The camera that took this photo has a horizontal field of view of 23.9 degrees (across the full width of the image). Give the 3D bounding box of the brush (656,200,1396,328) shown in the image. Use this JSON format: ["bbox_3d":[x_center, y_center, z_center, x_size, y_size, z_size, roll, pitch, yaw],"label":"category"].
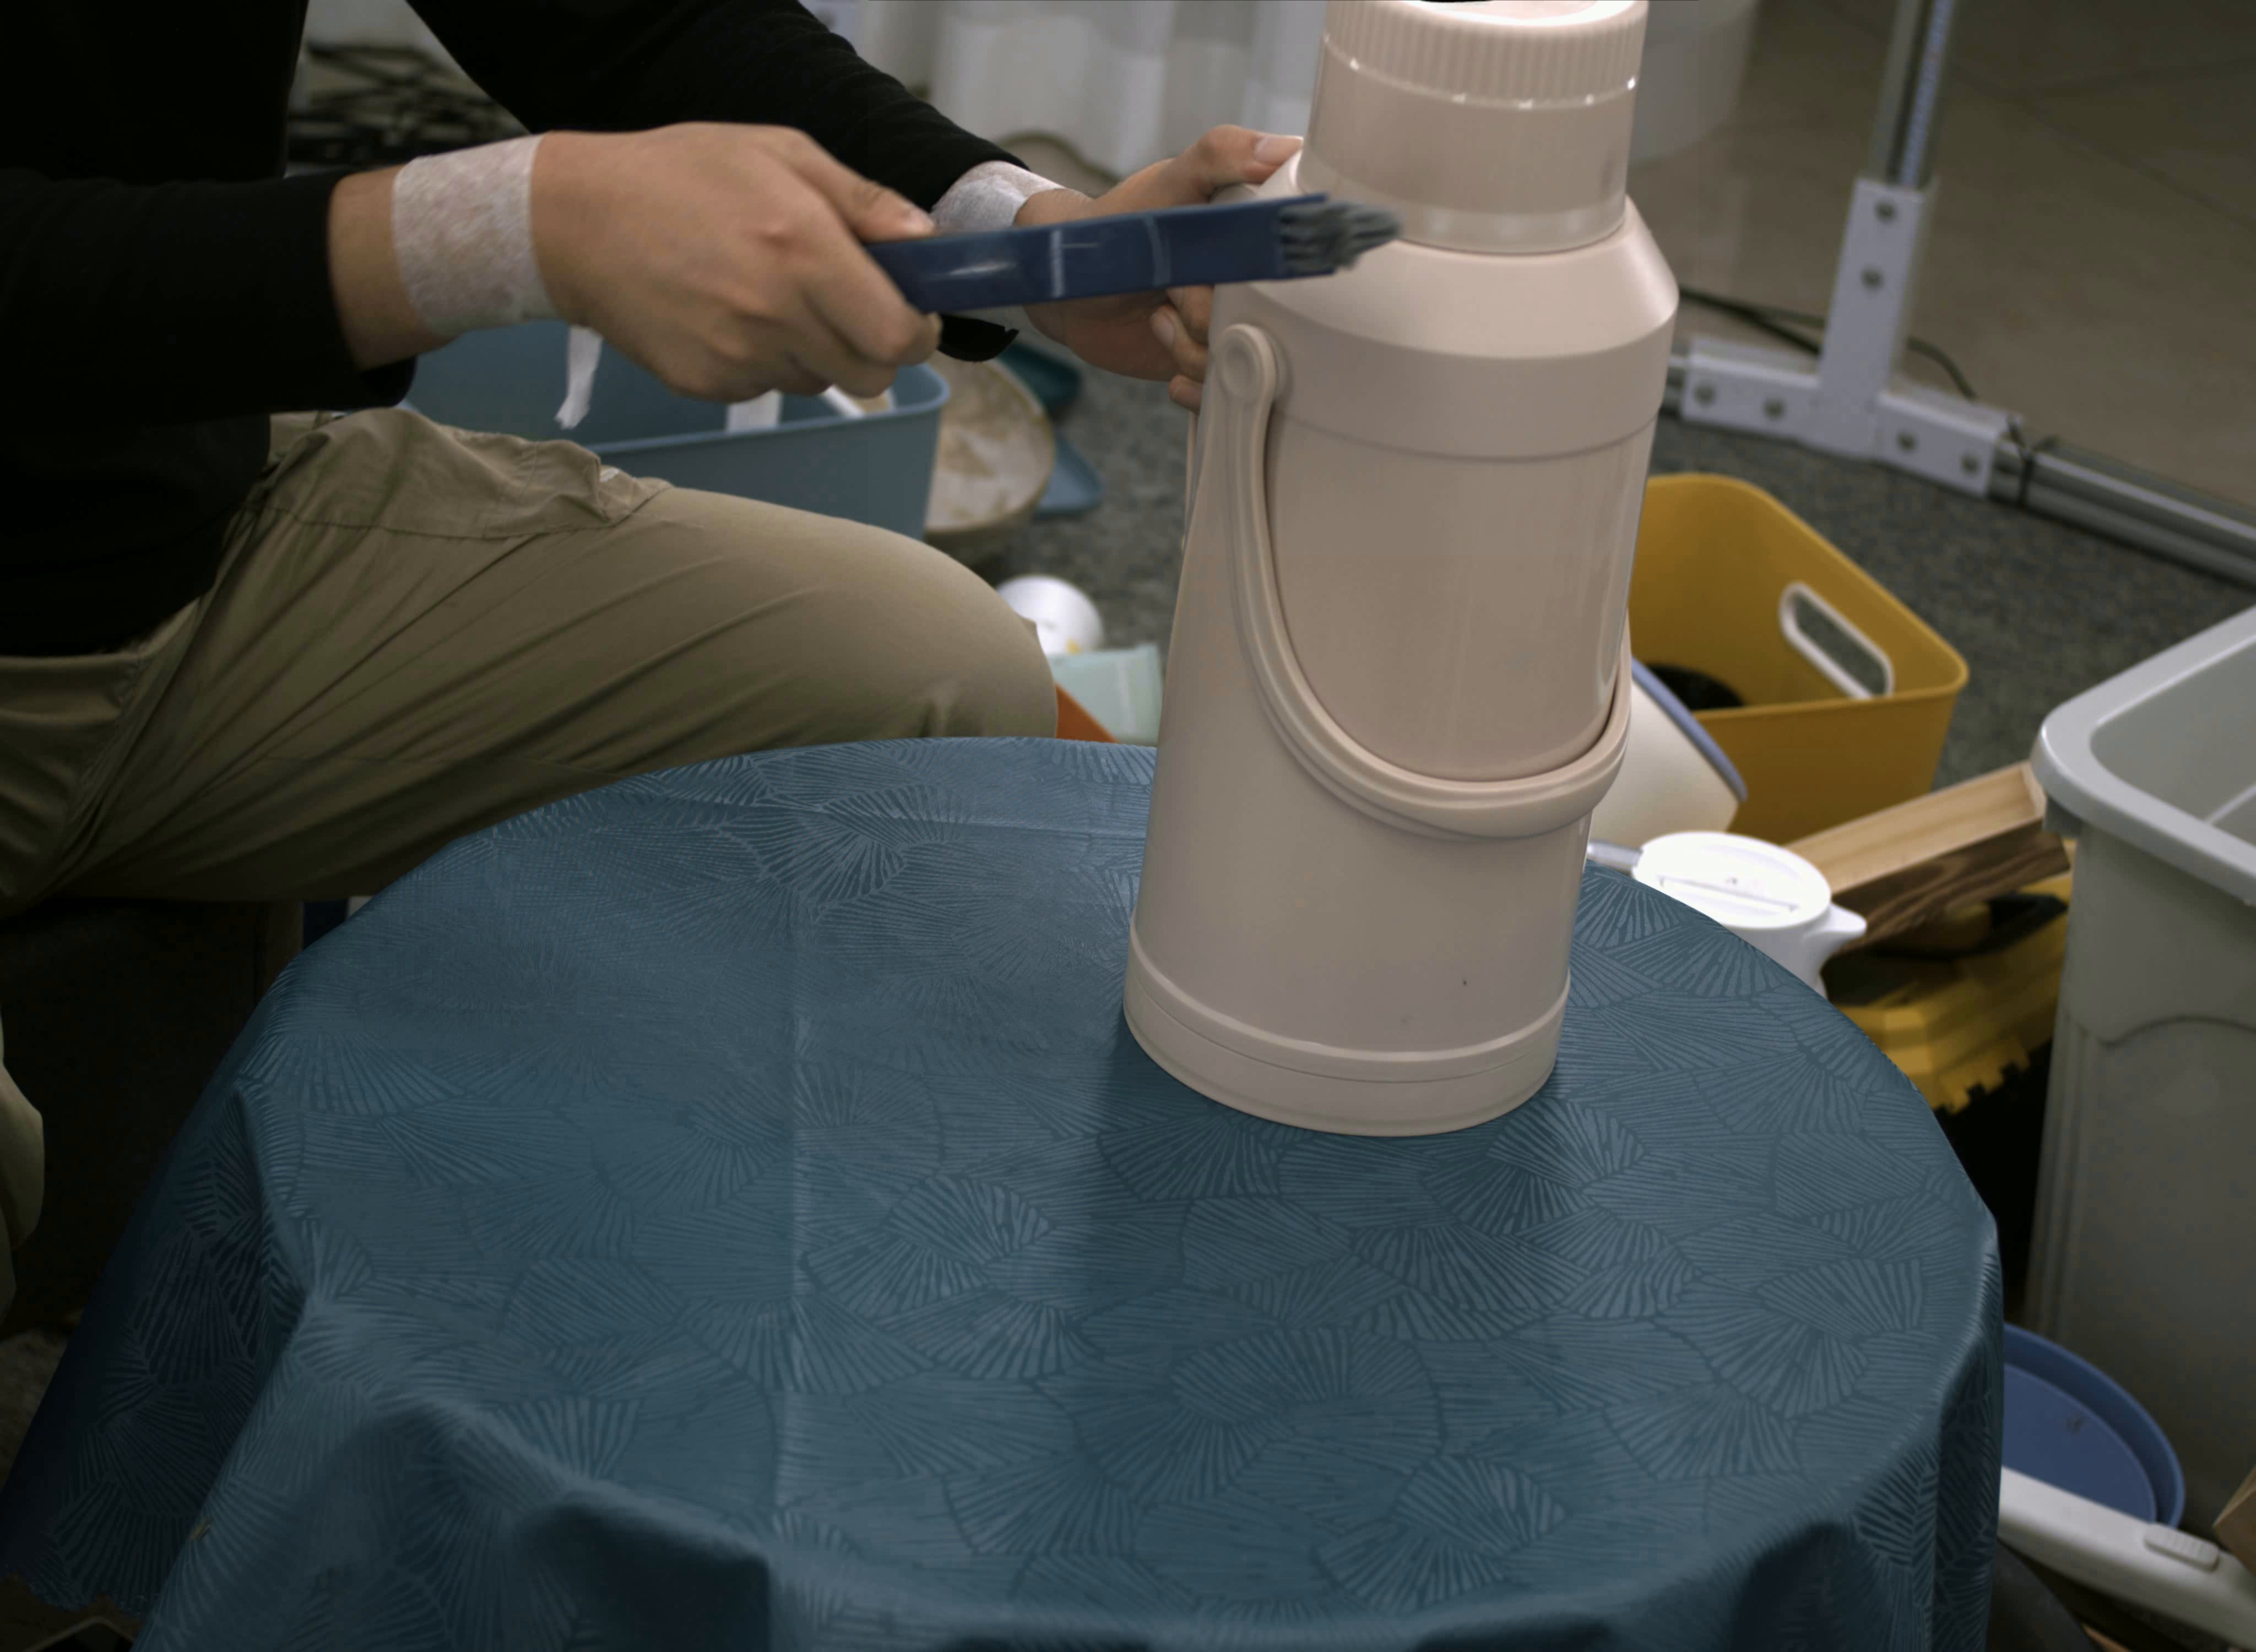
[{"bbox_3d":[-0.045,-0.183,1.717,0.274,0.033,0.095,-2,9,24],"label":"brush"}]

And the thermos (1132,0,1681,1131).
[{"bbox_3d":[0.092,-0.111,1.845,0.174,0.405,0.209,-15,34,-34],"label":"thermos"}]
